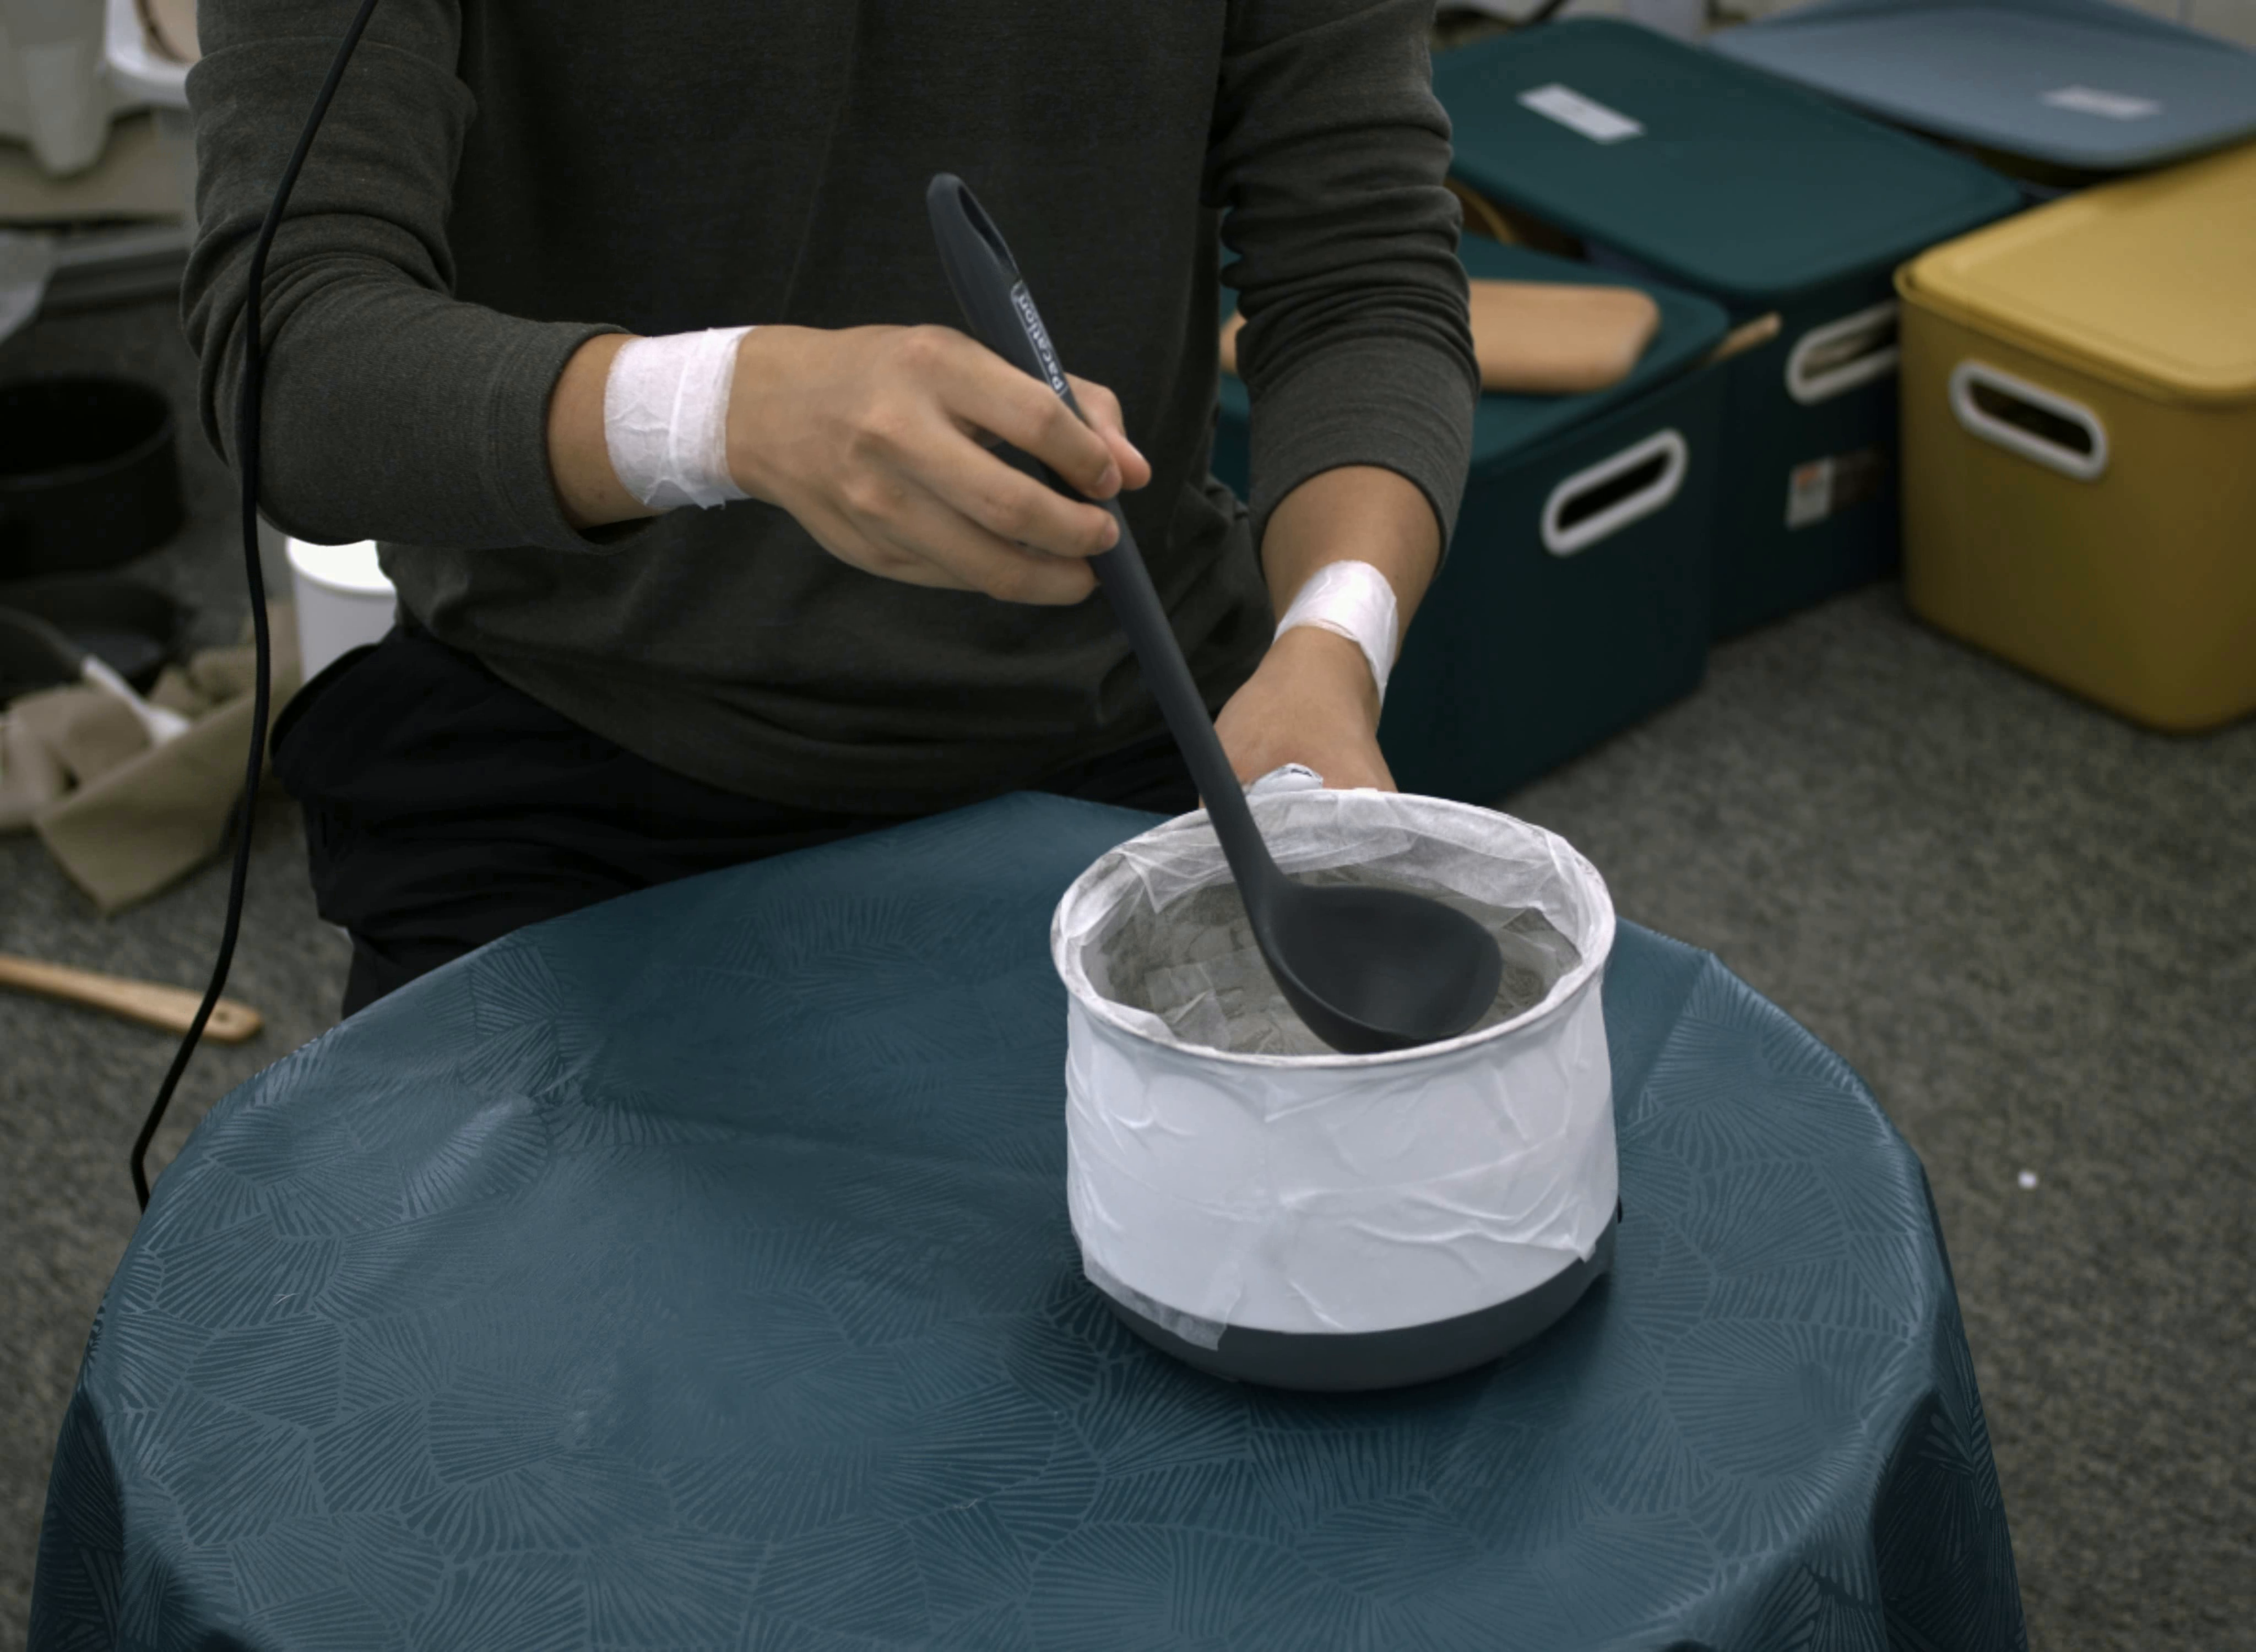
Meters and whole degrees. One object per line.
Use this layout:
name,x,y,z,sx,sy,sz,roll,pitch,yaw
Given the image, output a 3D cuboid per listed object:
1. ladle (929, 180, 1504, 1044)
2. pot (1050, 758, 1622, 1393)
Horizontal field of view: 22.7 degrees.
ladle,0.027,-0.064,1.738,0.063,0.313,0.087,-19,16,22
pot,0.064,0.072,1.803,0.178,0.135,0.237,-5,27,-5
